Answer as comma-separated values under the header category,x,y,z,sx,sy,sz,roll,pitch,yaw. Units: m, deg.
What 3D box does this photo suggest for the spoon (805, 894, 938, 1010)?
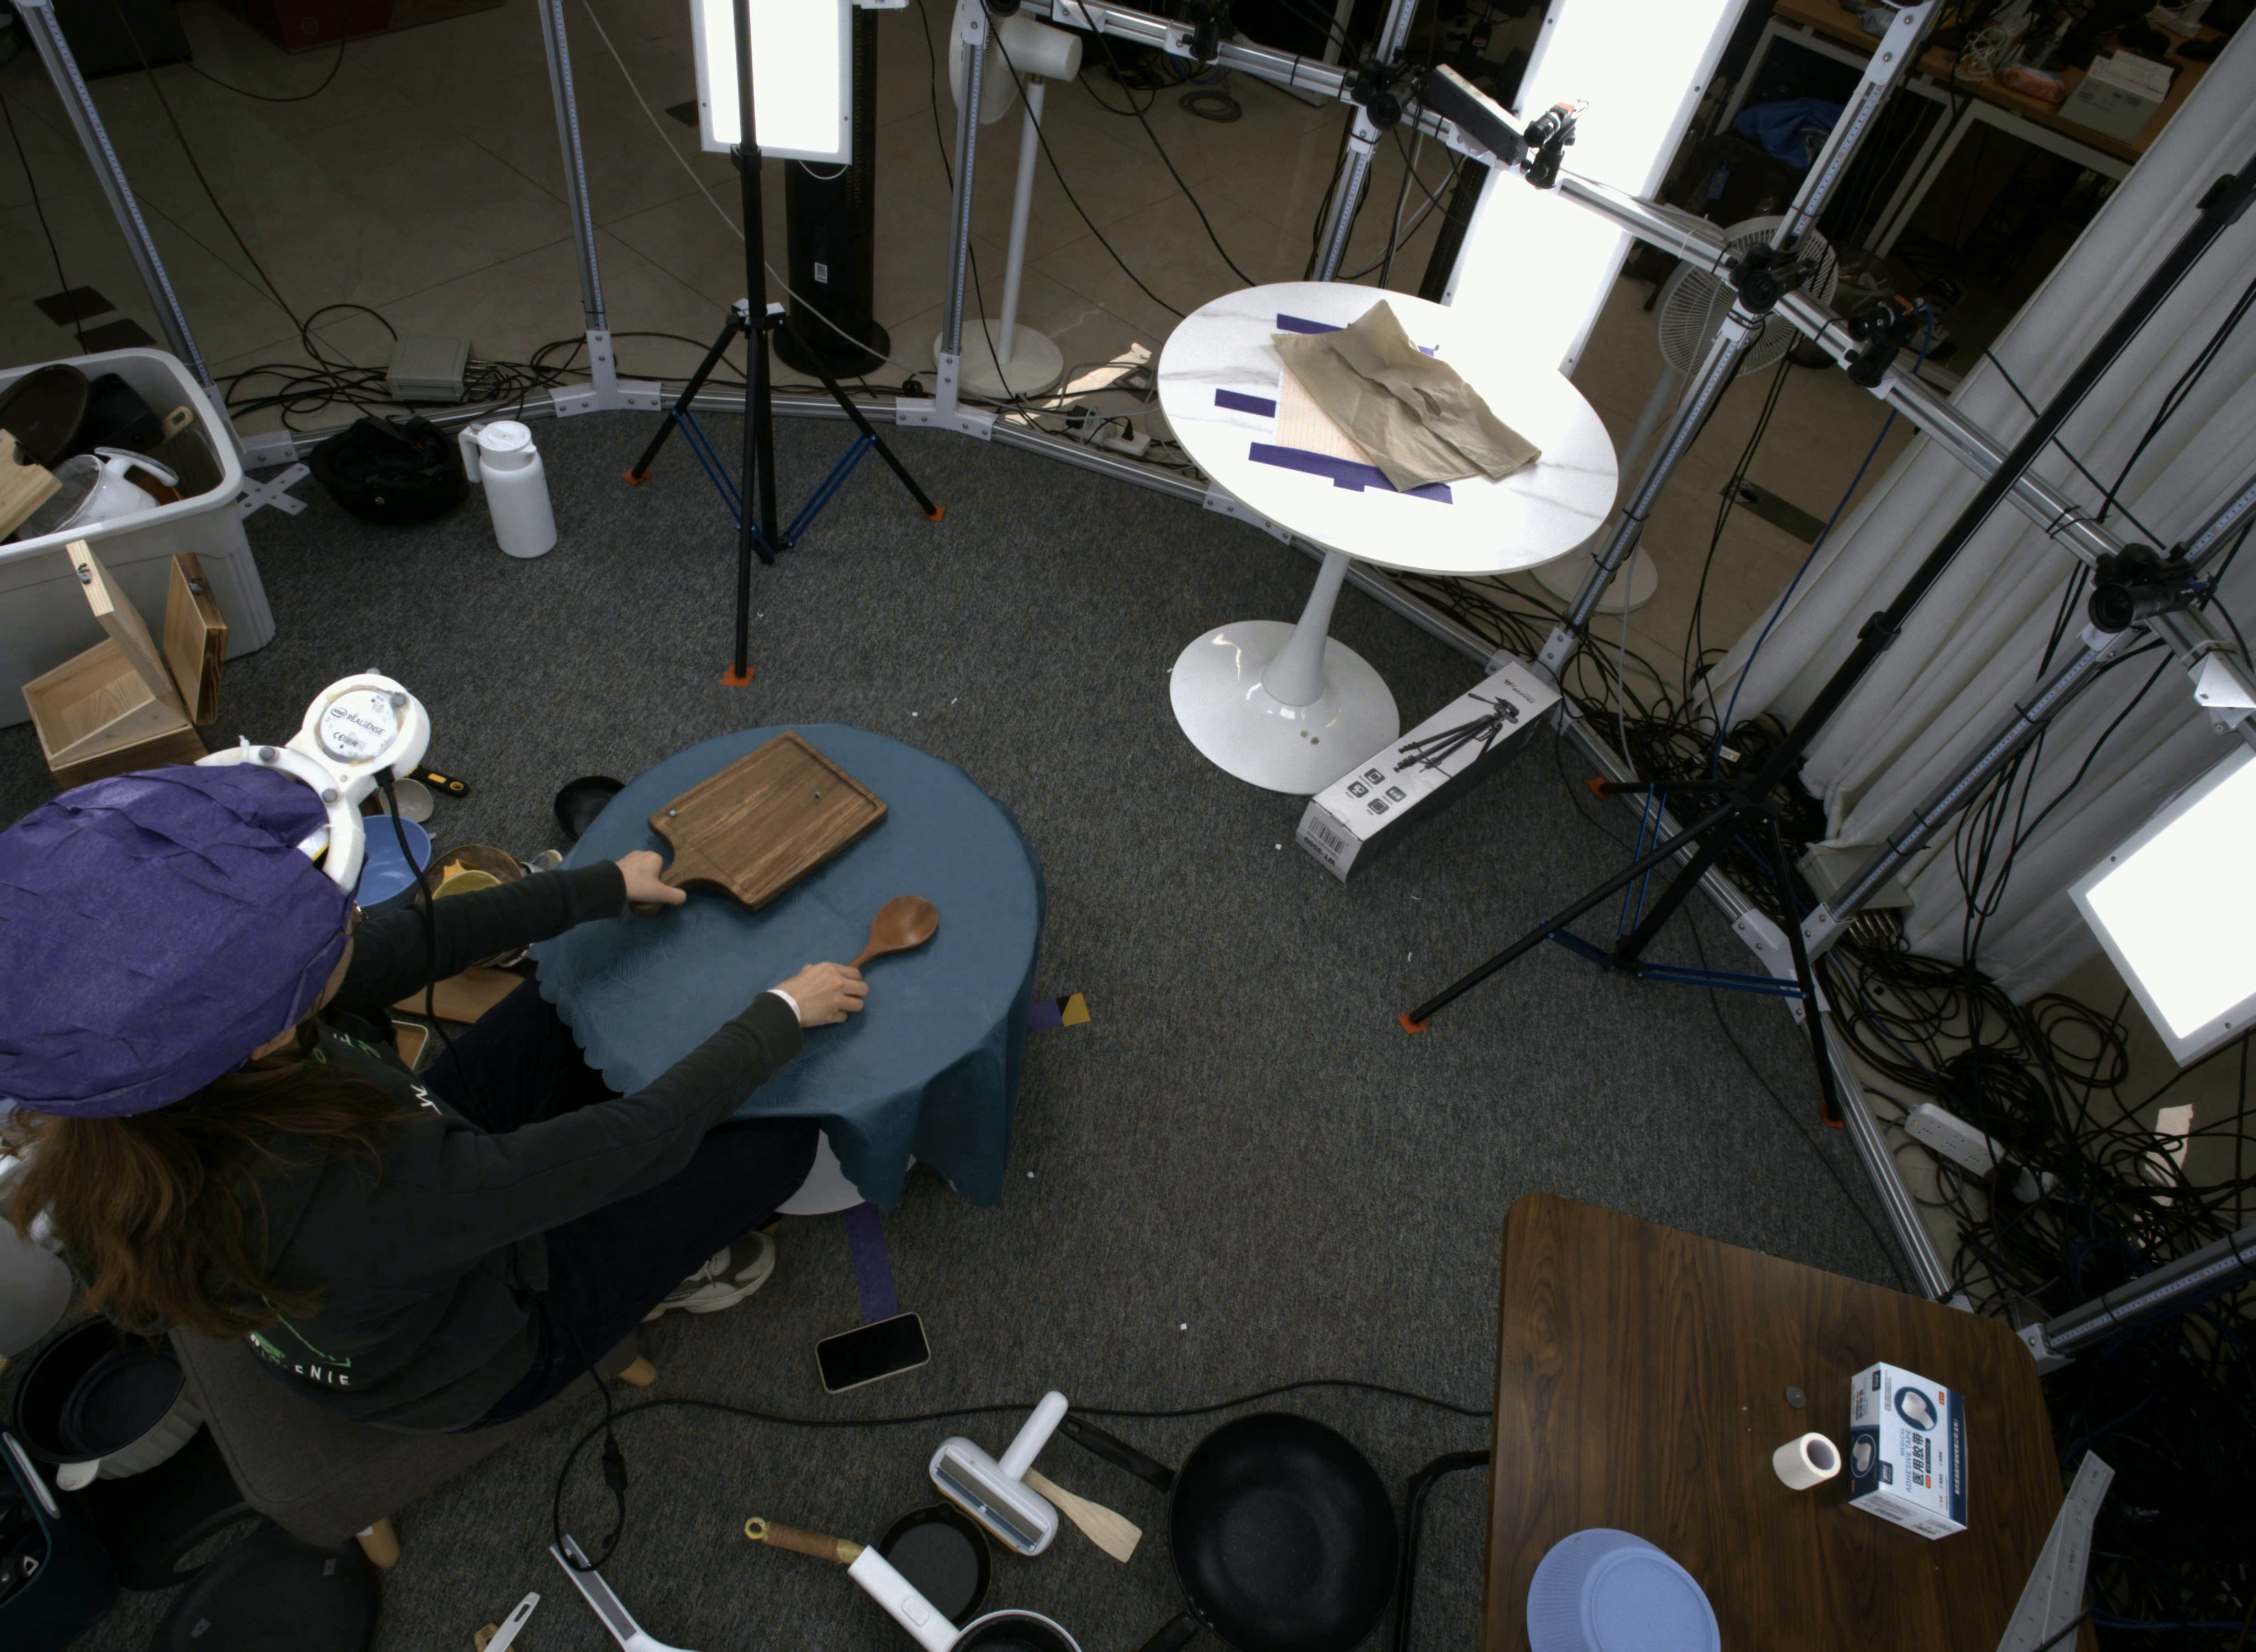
category,x,y,z,sx,sy,sz,roll,pitch,yaw
spoon,-0.321,0.156,1.623,0.074,0.017,0.216,38,50,12

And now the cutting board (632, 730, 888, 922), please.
category,x,y,z,sx,sy,sz,roll,pitch,yaw
cutting board,-0.499,0.013,1.672,0.197,0.023,0.352,38,49,13
